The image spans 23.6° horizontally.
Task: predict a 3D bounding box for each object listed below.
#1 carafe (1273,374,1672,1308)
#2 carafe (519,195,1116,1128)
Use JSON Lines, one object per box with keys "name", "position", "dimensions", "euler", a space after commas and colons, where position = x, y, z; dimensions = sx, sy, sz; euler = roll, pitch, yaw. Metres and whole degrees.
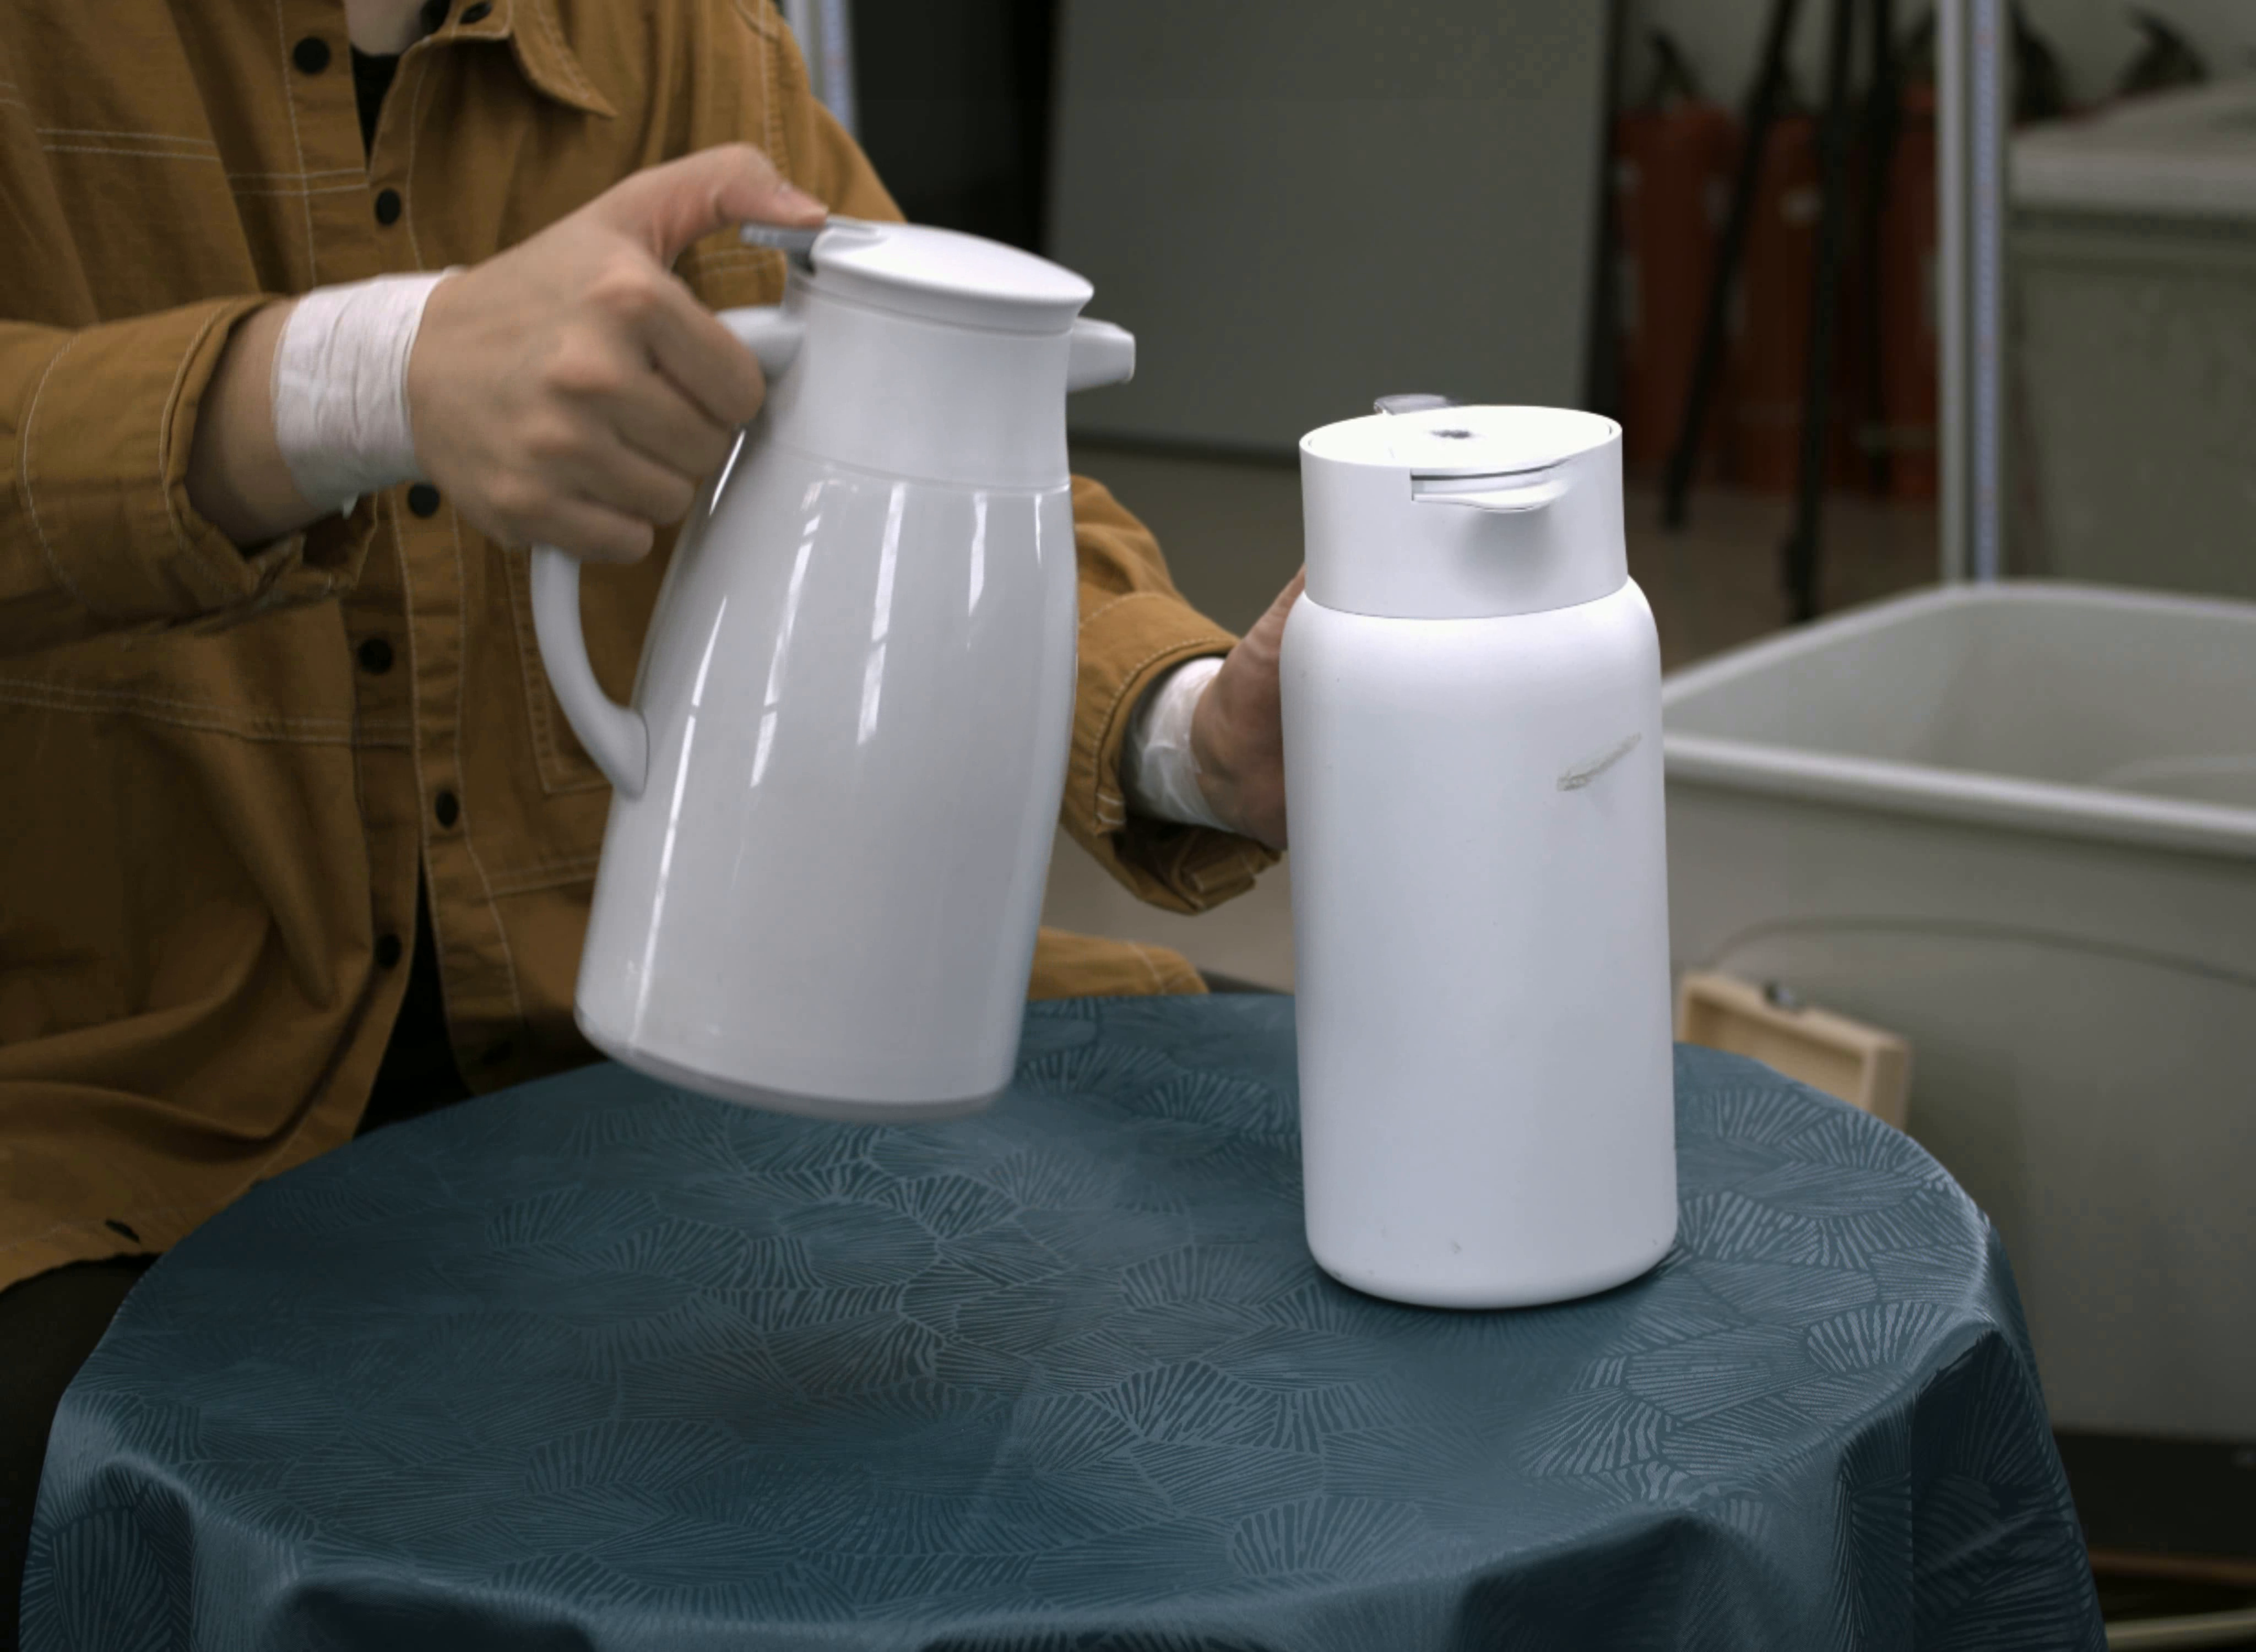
{"name": "carafe", "position": [0.100, 0.001, 1.668], "dimensions": [0.121, 0.272, 0.174], "euler": [-8, 14, -10]}
{"name": "carafe", "position": [-0.095, -0.053, 1.551], "dimensions": [0.164, 0.251, 0.134], "euler": [4, 14, -21]}
